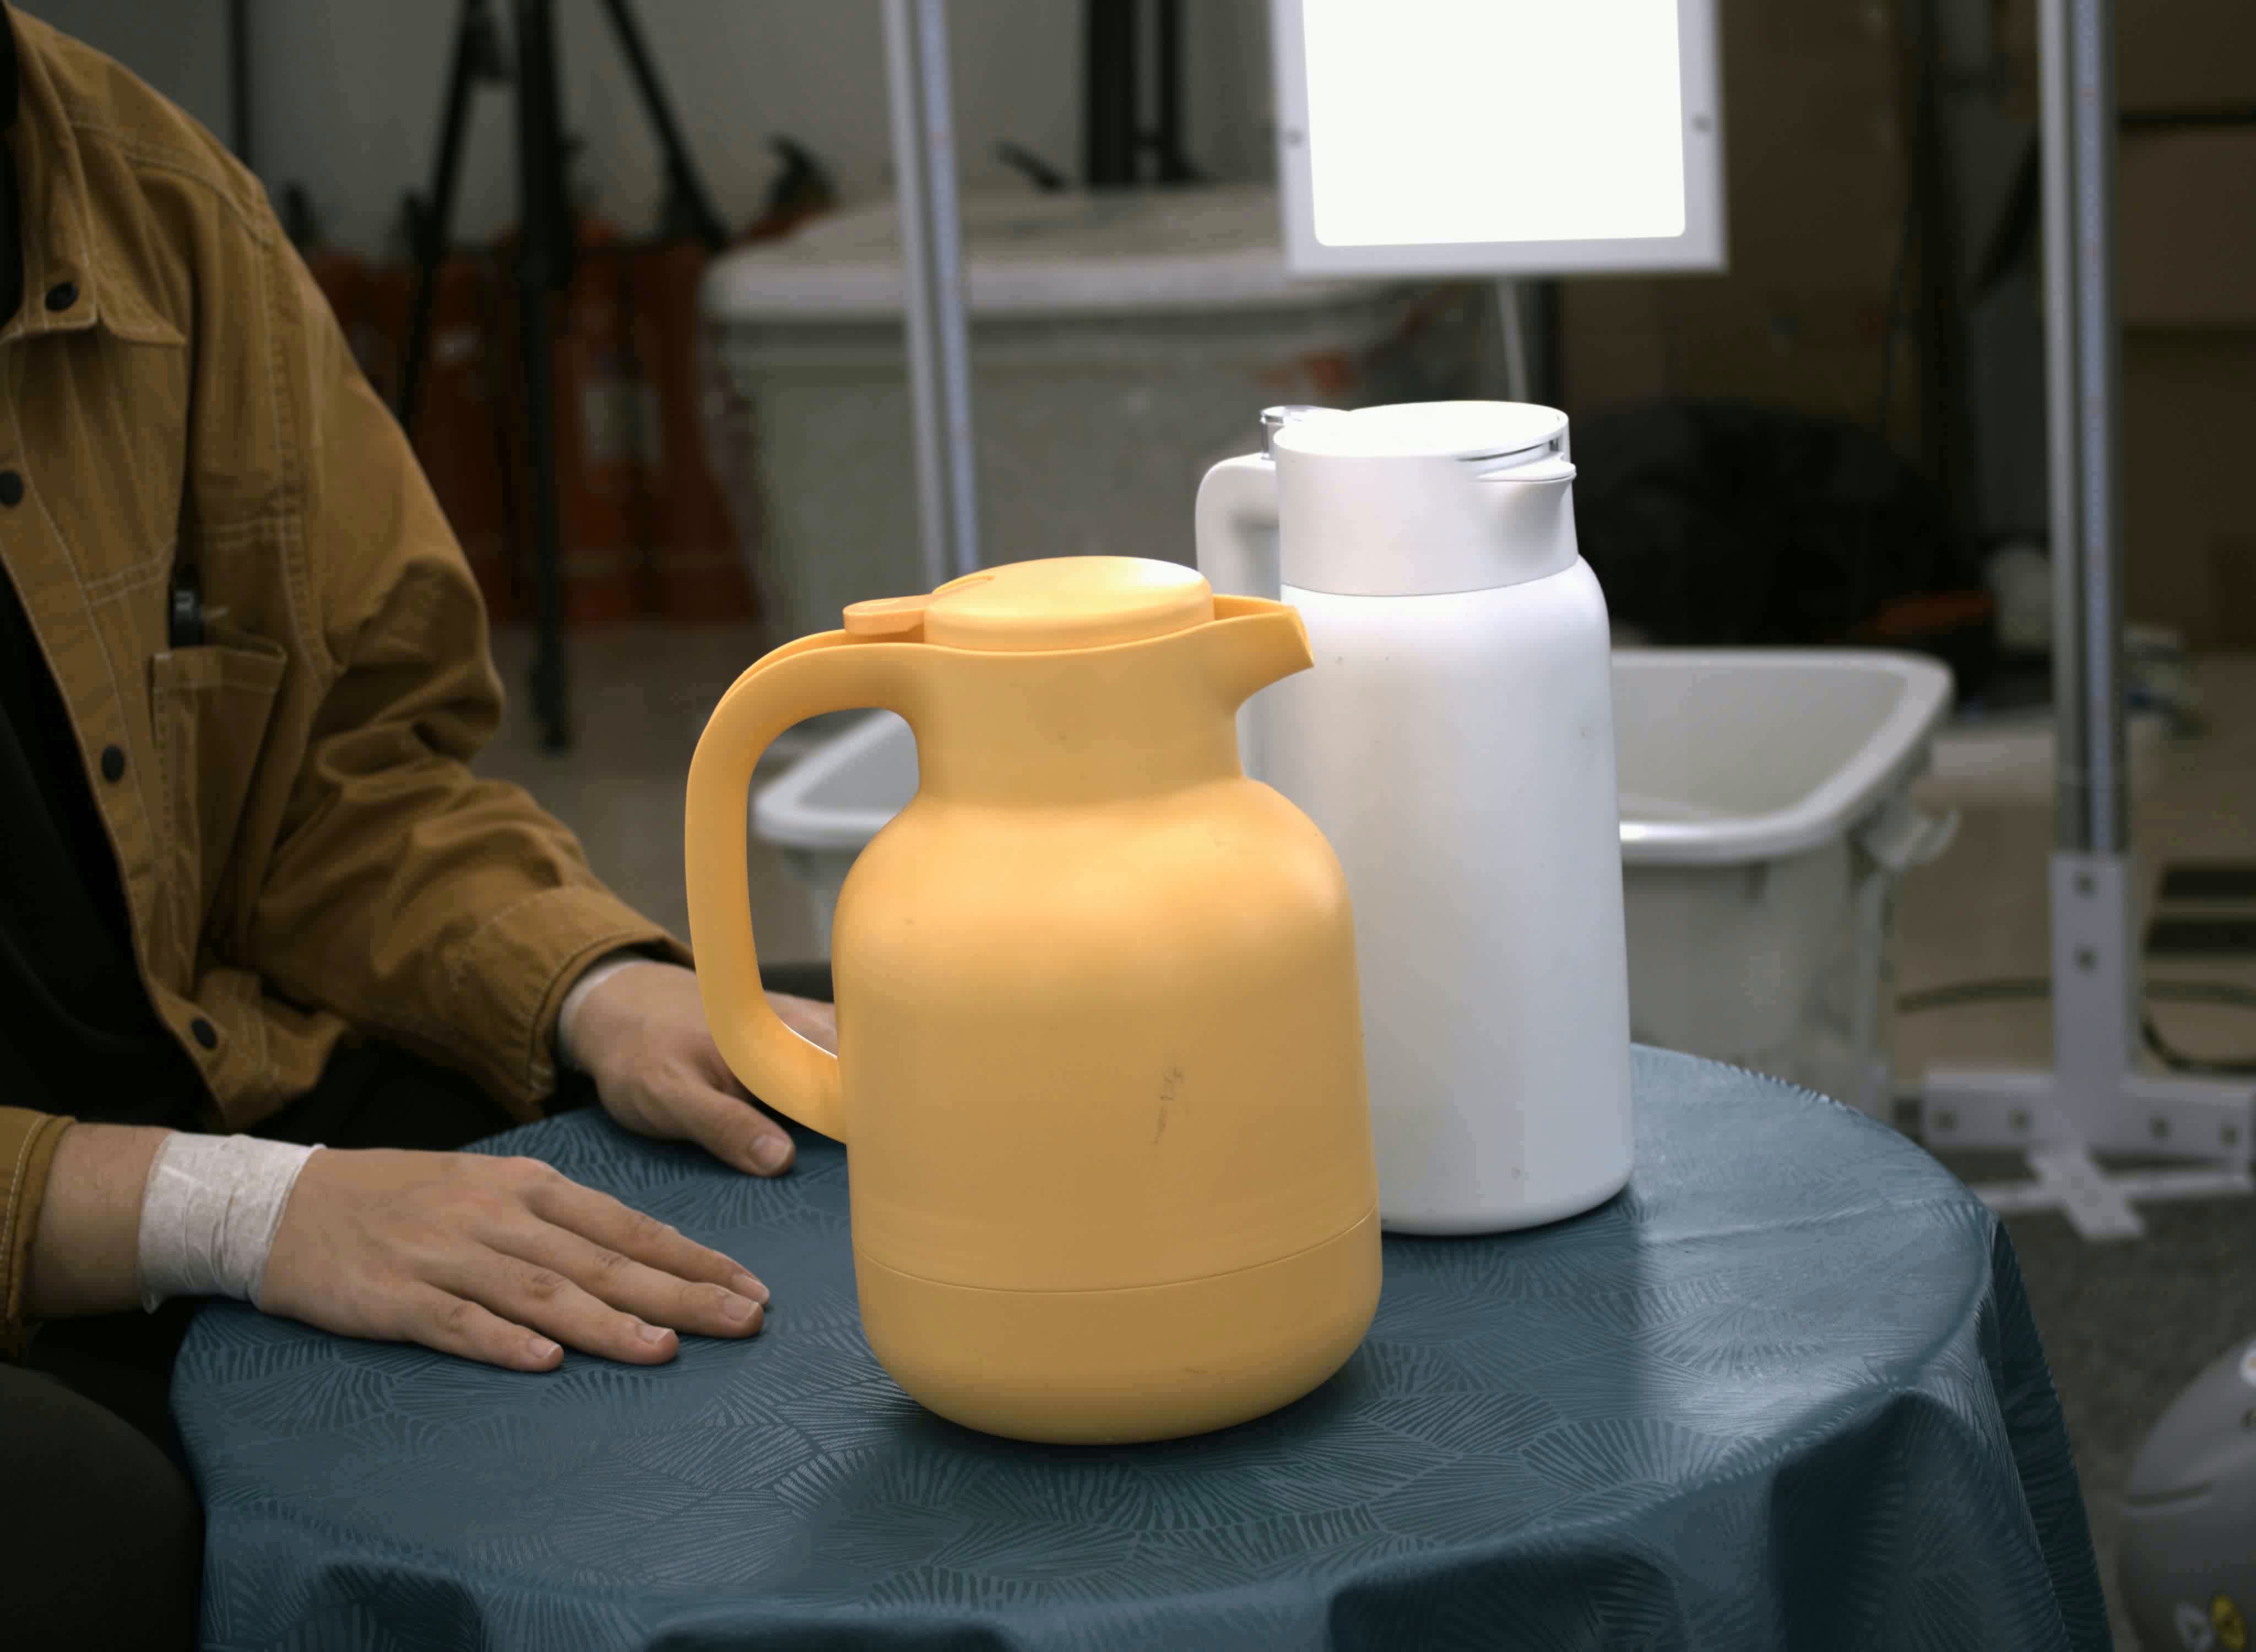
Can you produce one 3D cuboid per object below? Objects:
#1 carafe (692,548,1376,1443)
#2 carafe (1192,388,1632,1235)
[{"bbox_3d":[-0.029,0.048,1.678,0.203,0.261,0.162,-2,11,6],"label":"carafe"},{"bbox_3d":[0.092,-0.007,1.847,0.121,0.270,0.176,-18,19,-37],"label":"carafe"}]
